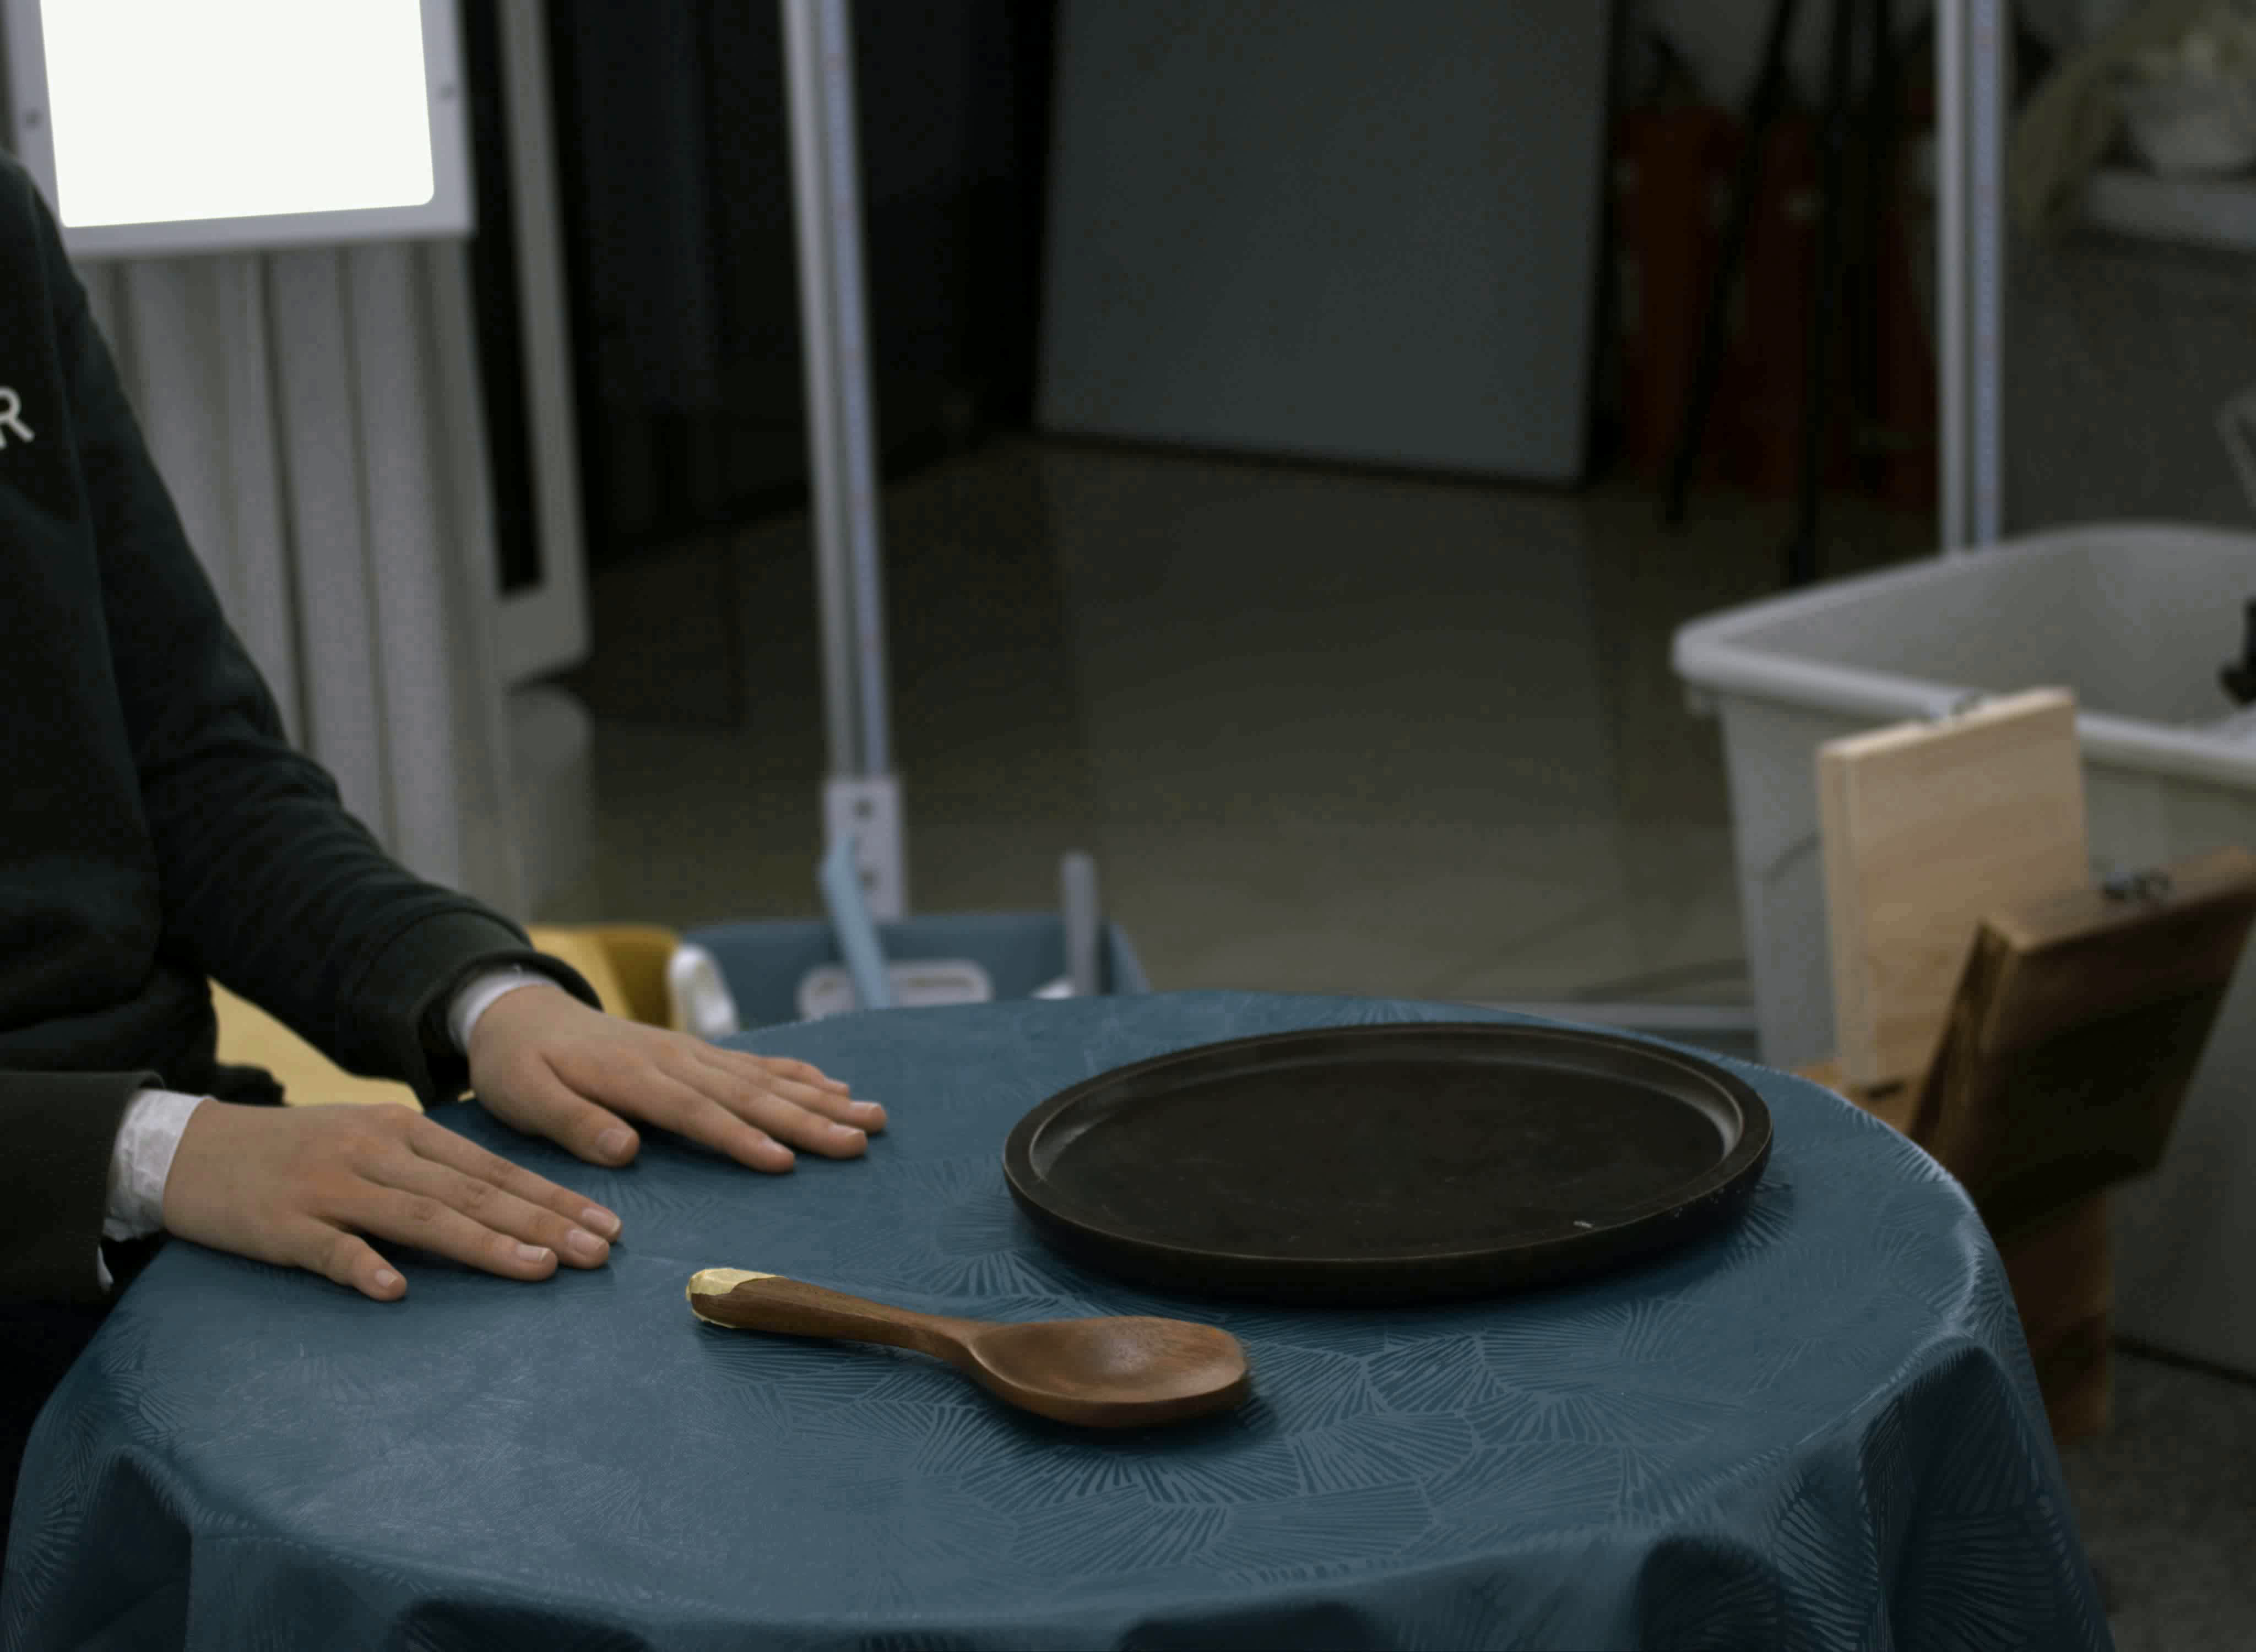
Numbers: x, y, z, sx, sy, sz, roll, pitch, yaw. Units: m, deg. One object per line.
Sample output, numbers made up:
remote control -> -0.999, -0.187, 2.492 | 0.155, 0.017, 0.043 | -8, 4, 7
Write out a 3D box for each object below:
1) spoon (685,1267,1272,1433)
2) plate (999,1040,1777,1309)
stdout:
spoon -> -0.049, 0.155, 1.612 | 0.217, 0.017, 0.074 | 7, 18, 39
plate -> 0.085, 0.110, 1.747 | 0.251, 0.029, 0.255 | -3, 14, 0
